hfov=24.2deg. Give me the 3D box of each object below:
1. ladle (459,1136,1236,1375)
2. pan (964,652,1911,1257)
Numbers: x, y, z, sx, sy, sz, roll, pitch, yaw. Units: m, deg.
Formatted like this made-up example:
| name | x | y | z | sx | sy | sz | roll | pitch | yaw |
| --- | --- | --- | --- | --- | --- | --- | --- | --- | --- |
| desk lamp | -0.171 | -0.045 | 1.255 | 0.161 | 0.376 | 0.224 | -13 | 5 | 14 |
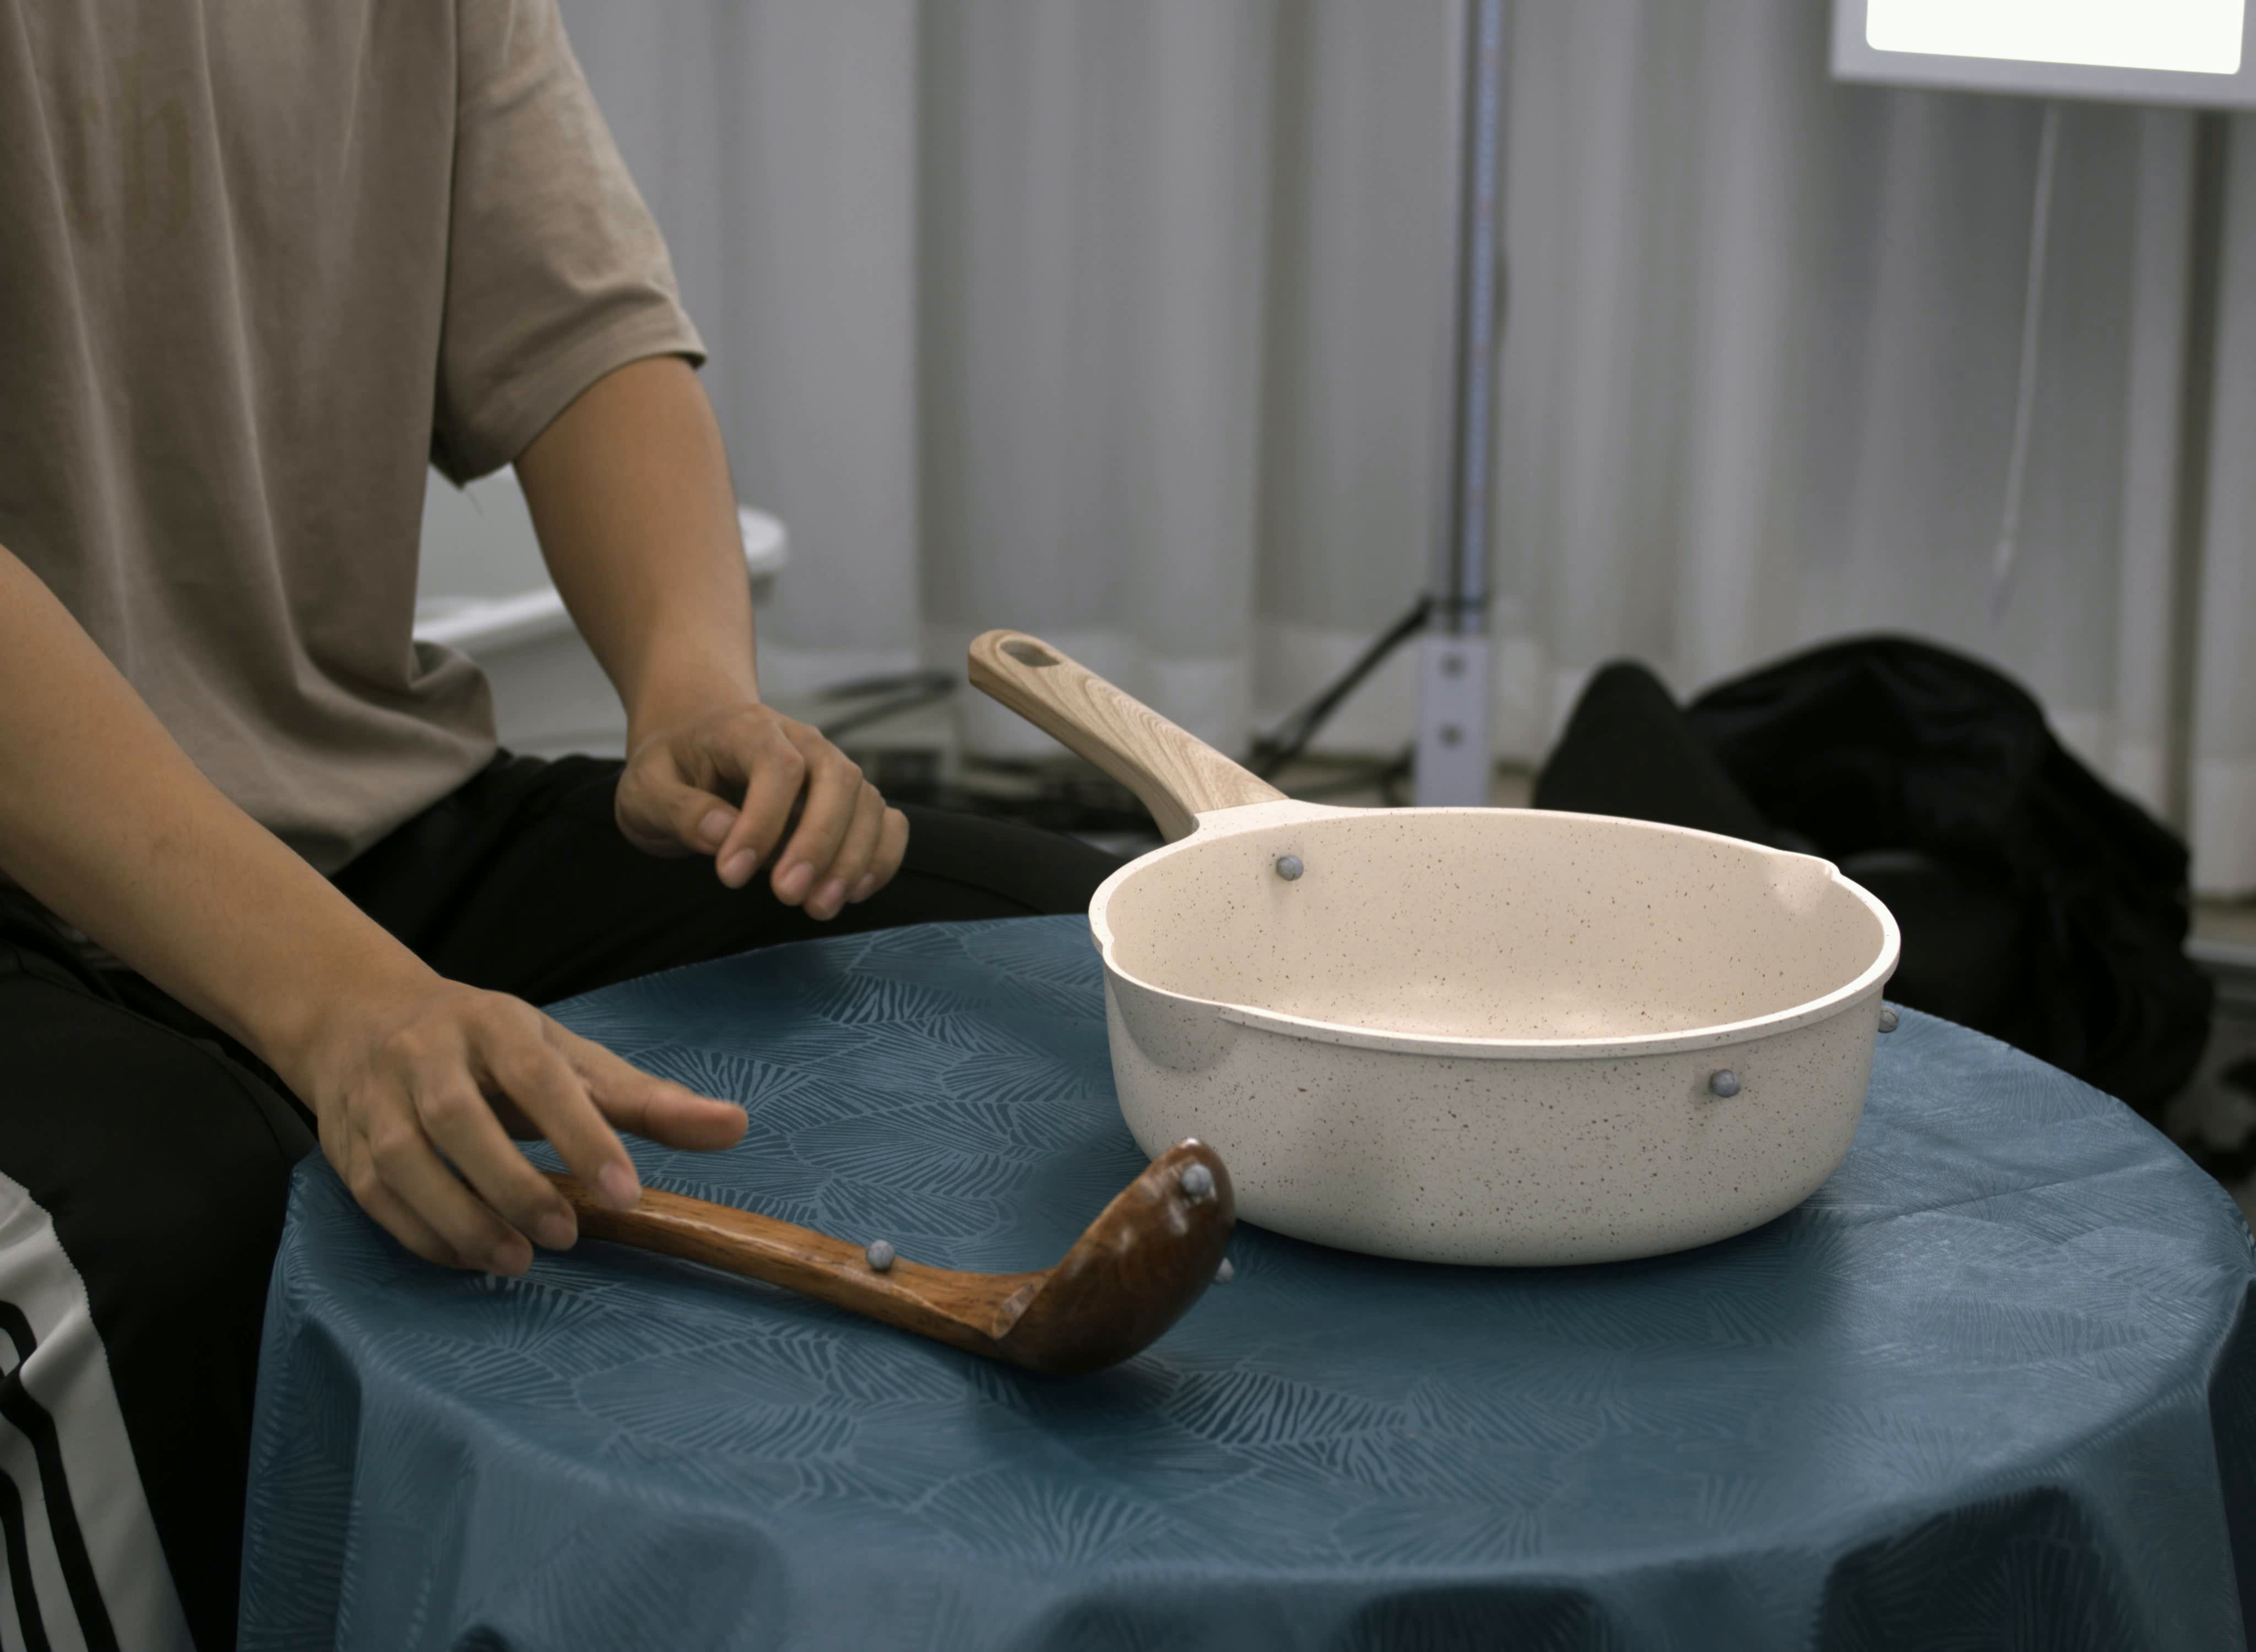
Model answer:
| name | x | y | z | sx | sy | sz | roll | pitch | yaw |
| --- | --- | --- | --- | --- | --- | --- | --- | --- | --- |
| ladle | -0.090 | 0.103 | 1.510 | 0.270 | 0.077 | 0.082 | 12 | 24 | 32 |
| pan | 0.068 | 0.036 | 1.717 | 0.264 | 0.103 | 0.429 | -11 | 19 | -31 |
